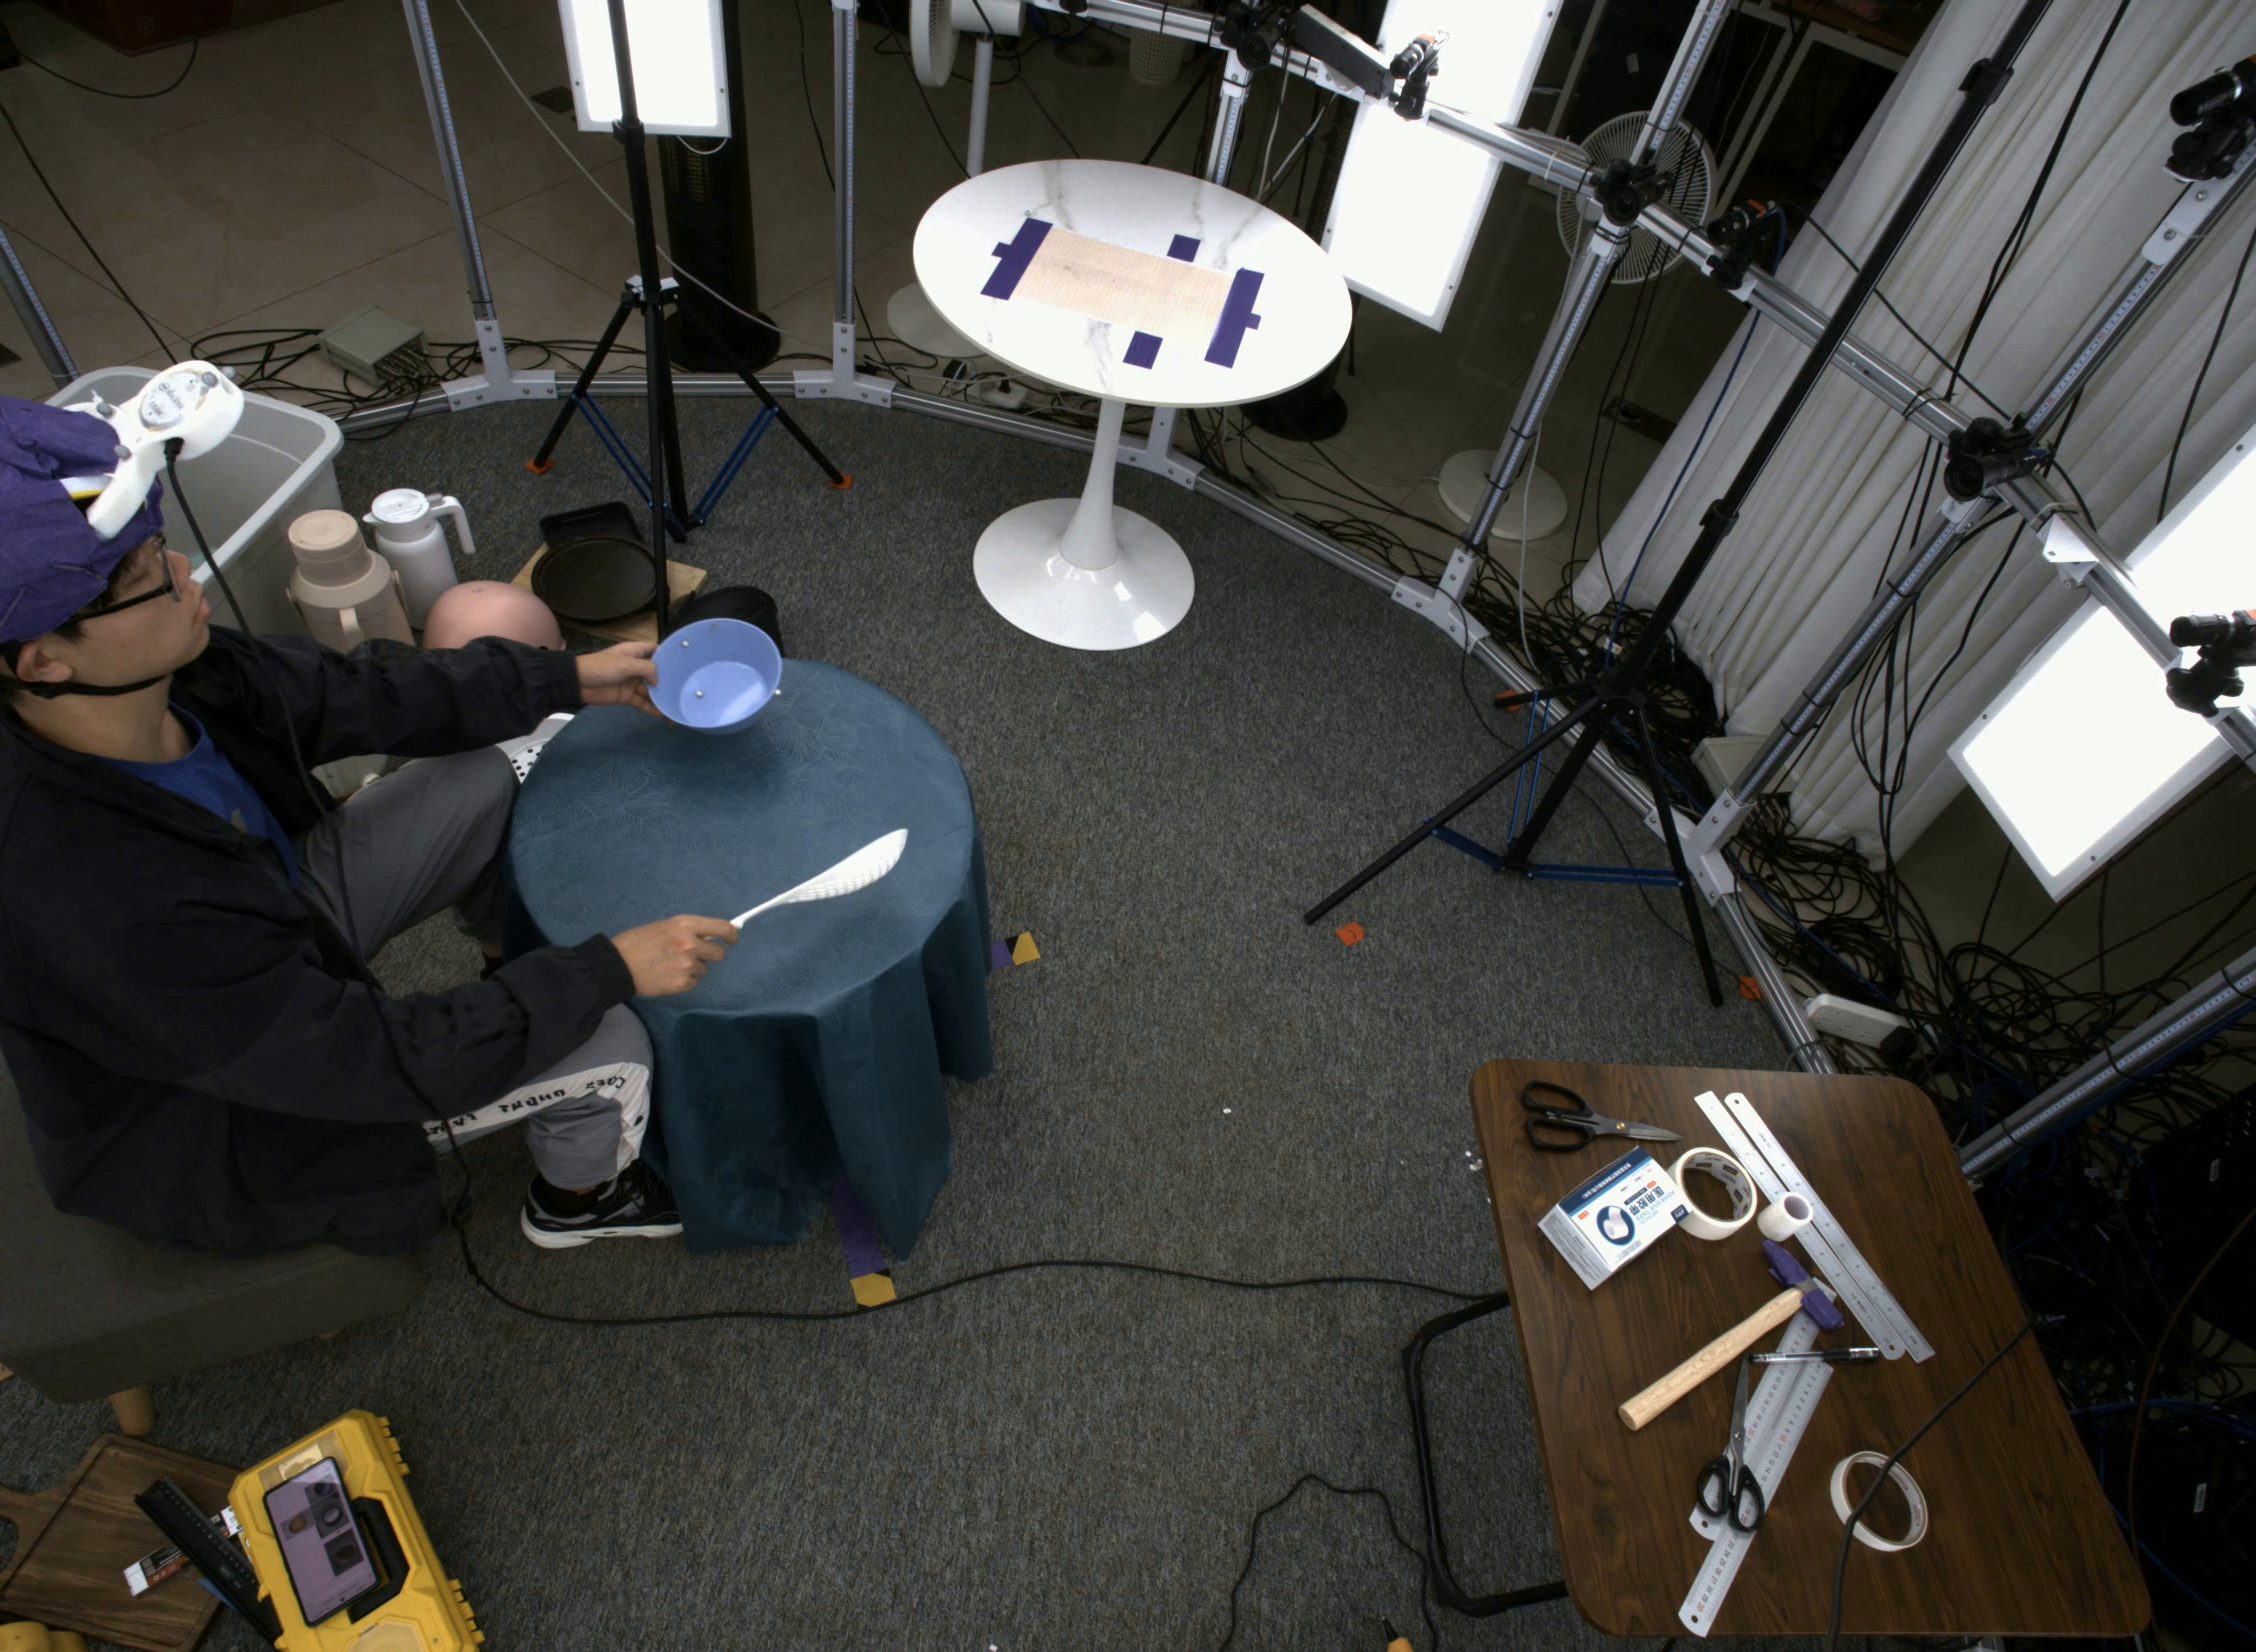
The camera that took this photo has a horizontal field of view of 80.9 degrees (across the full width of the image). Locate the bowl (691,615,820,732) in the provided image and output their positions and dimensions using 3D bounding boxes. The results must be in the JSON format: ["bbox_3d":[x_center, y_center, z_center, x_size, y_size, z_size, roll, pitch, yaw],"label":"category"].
[{"bbox_3d":[-0.498,-0.195,1.752,0.174,0.072,0.174,2,63,-2],"label":"bowl"}]

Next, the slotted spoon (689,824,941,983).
[{"bbox_3d":[-0.372,0.087,1.554,0.349,0.134,0.051,-25,96,-25],"label":"slotted spoon"}]
